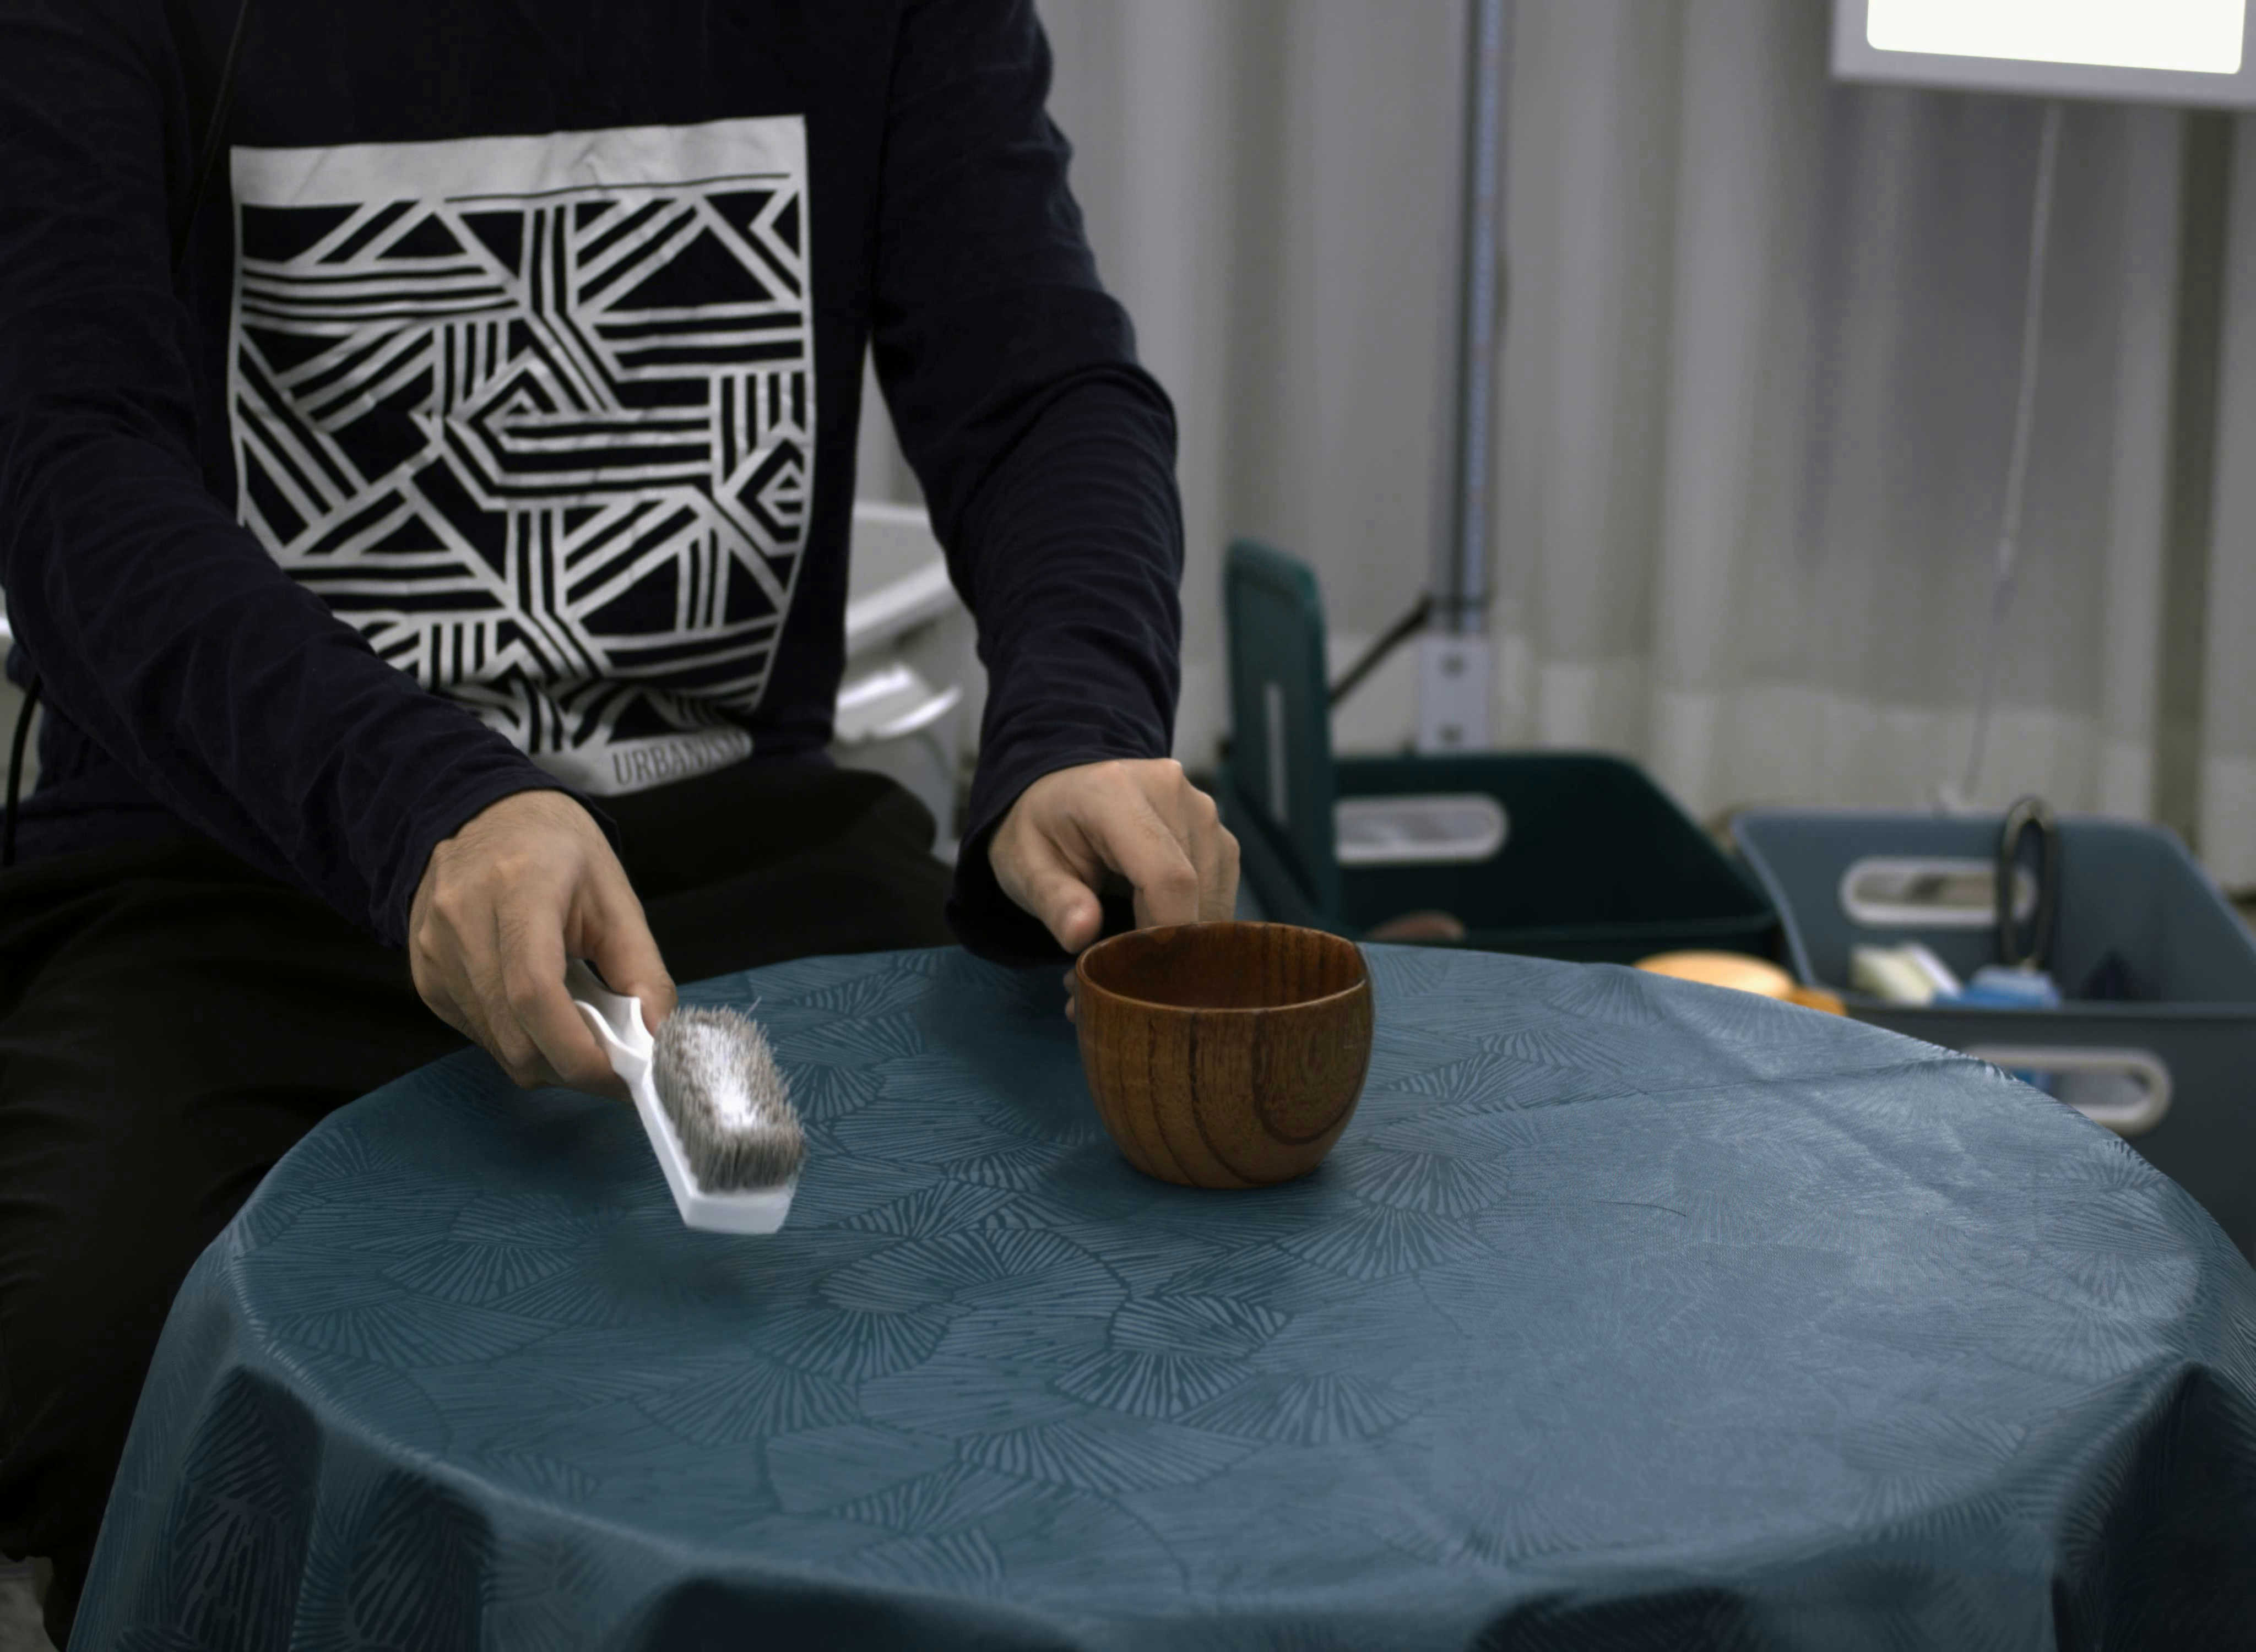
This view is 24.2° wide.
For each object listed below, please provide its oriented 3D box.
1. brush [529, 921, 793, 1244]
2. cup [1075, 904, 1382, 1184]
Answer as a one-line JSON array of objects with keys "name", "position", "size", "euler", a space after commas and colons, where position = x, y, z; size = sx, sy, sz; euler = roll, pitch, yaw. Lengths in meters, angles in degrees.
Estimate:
[{"name": "brush", "position": [-0.148, 0.059, 1.610], "size": [0.034, 0.051, 0.241], "euler": [-7, 23, -18]}, {"name": "cup", "position": [0.026, 0.067, 1.658], "size": [0.096, 0.068, 0.118], "euler": [-9, 21, -27]}]
